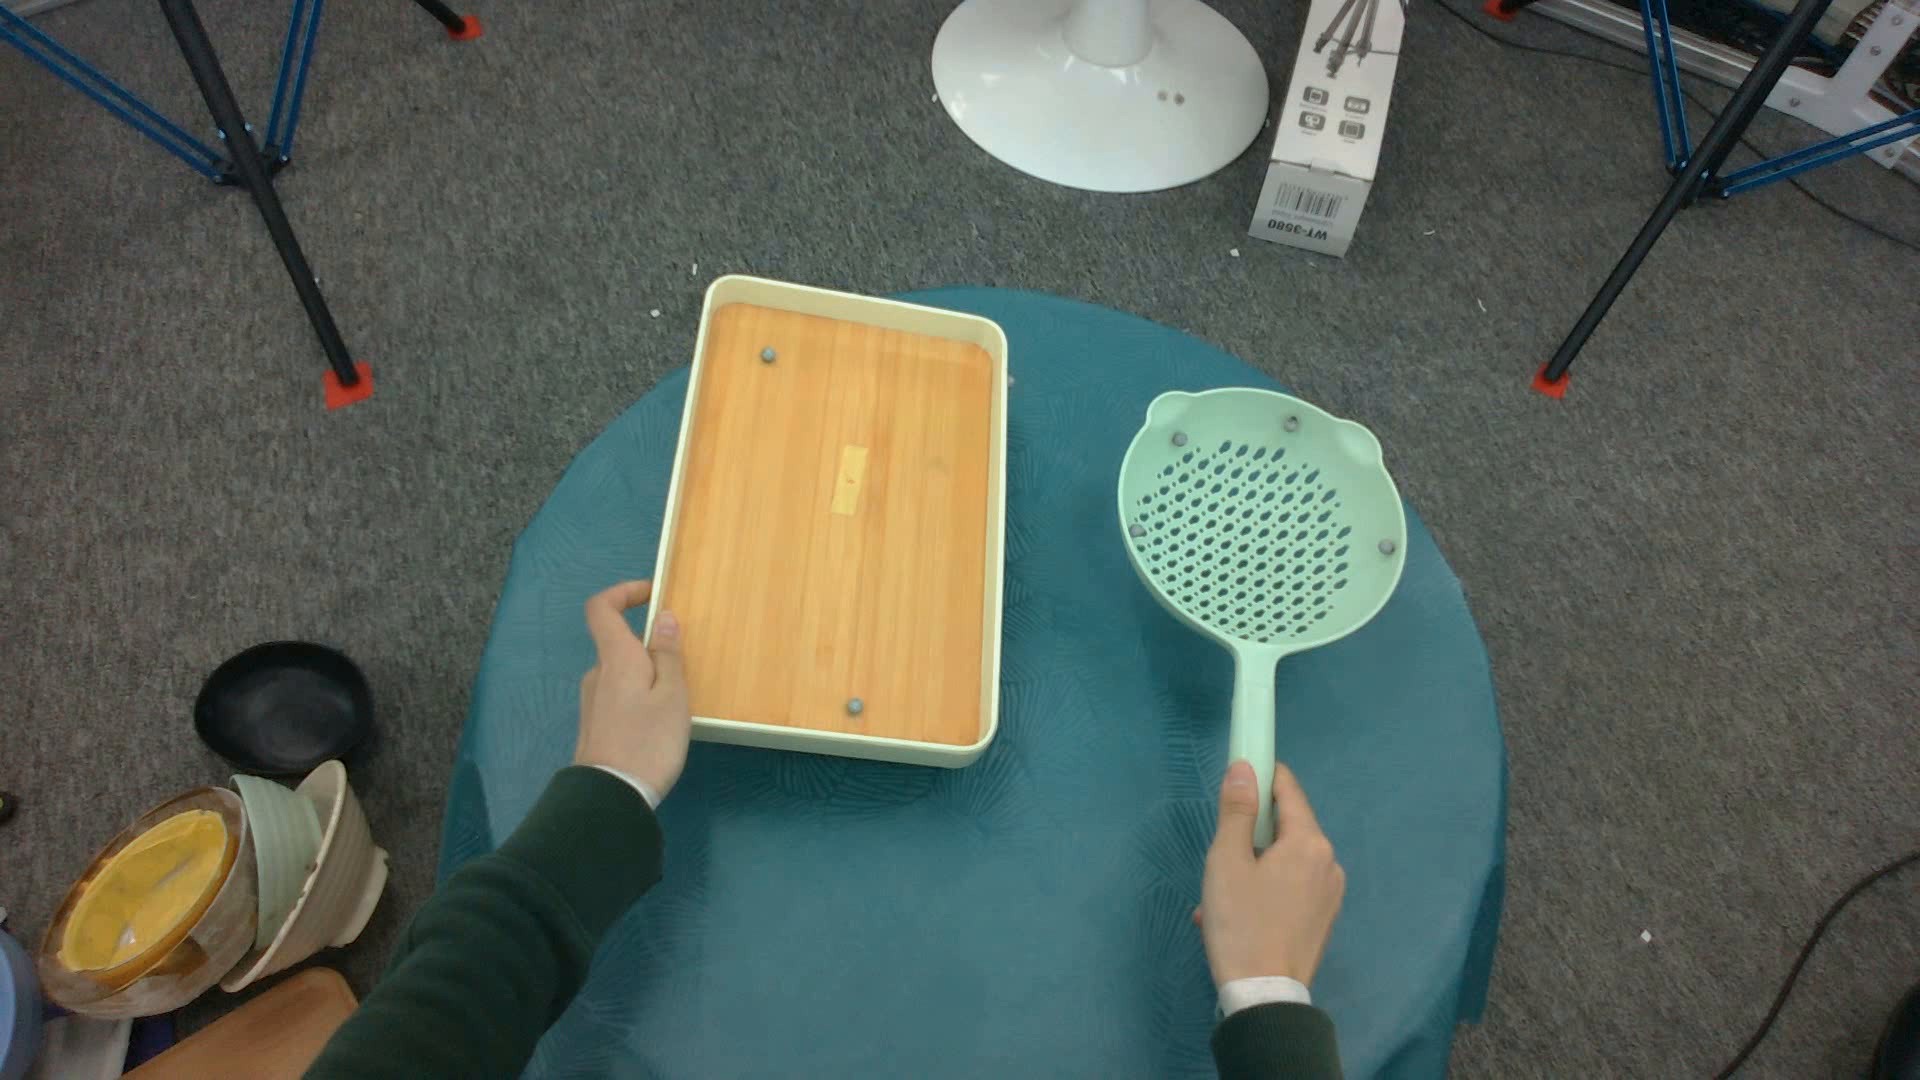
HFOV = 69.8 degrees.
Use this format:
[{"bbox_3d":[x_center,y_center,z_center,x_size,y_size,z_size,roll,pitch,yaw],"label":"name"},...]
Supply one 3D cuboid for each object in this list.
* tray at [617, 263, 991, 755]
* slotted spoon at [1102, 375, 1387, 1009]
[{"bbox_3d":[-0.080,-0.028,0.795,0.192,0.027,0.301,8,58,-9],"label":"tray"},{"bbox_3d":[0.150,0.066,0.752,0.169,0.075,0.360,10,53,-3],"label":"slotted spoon"}]
